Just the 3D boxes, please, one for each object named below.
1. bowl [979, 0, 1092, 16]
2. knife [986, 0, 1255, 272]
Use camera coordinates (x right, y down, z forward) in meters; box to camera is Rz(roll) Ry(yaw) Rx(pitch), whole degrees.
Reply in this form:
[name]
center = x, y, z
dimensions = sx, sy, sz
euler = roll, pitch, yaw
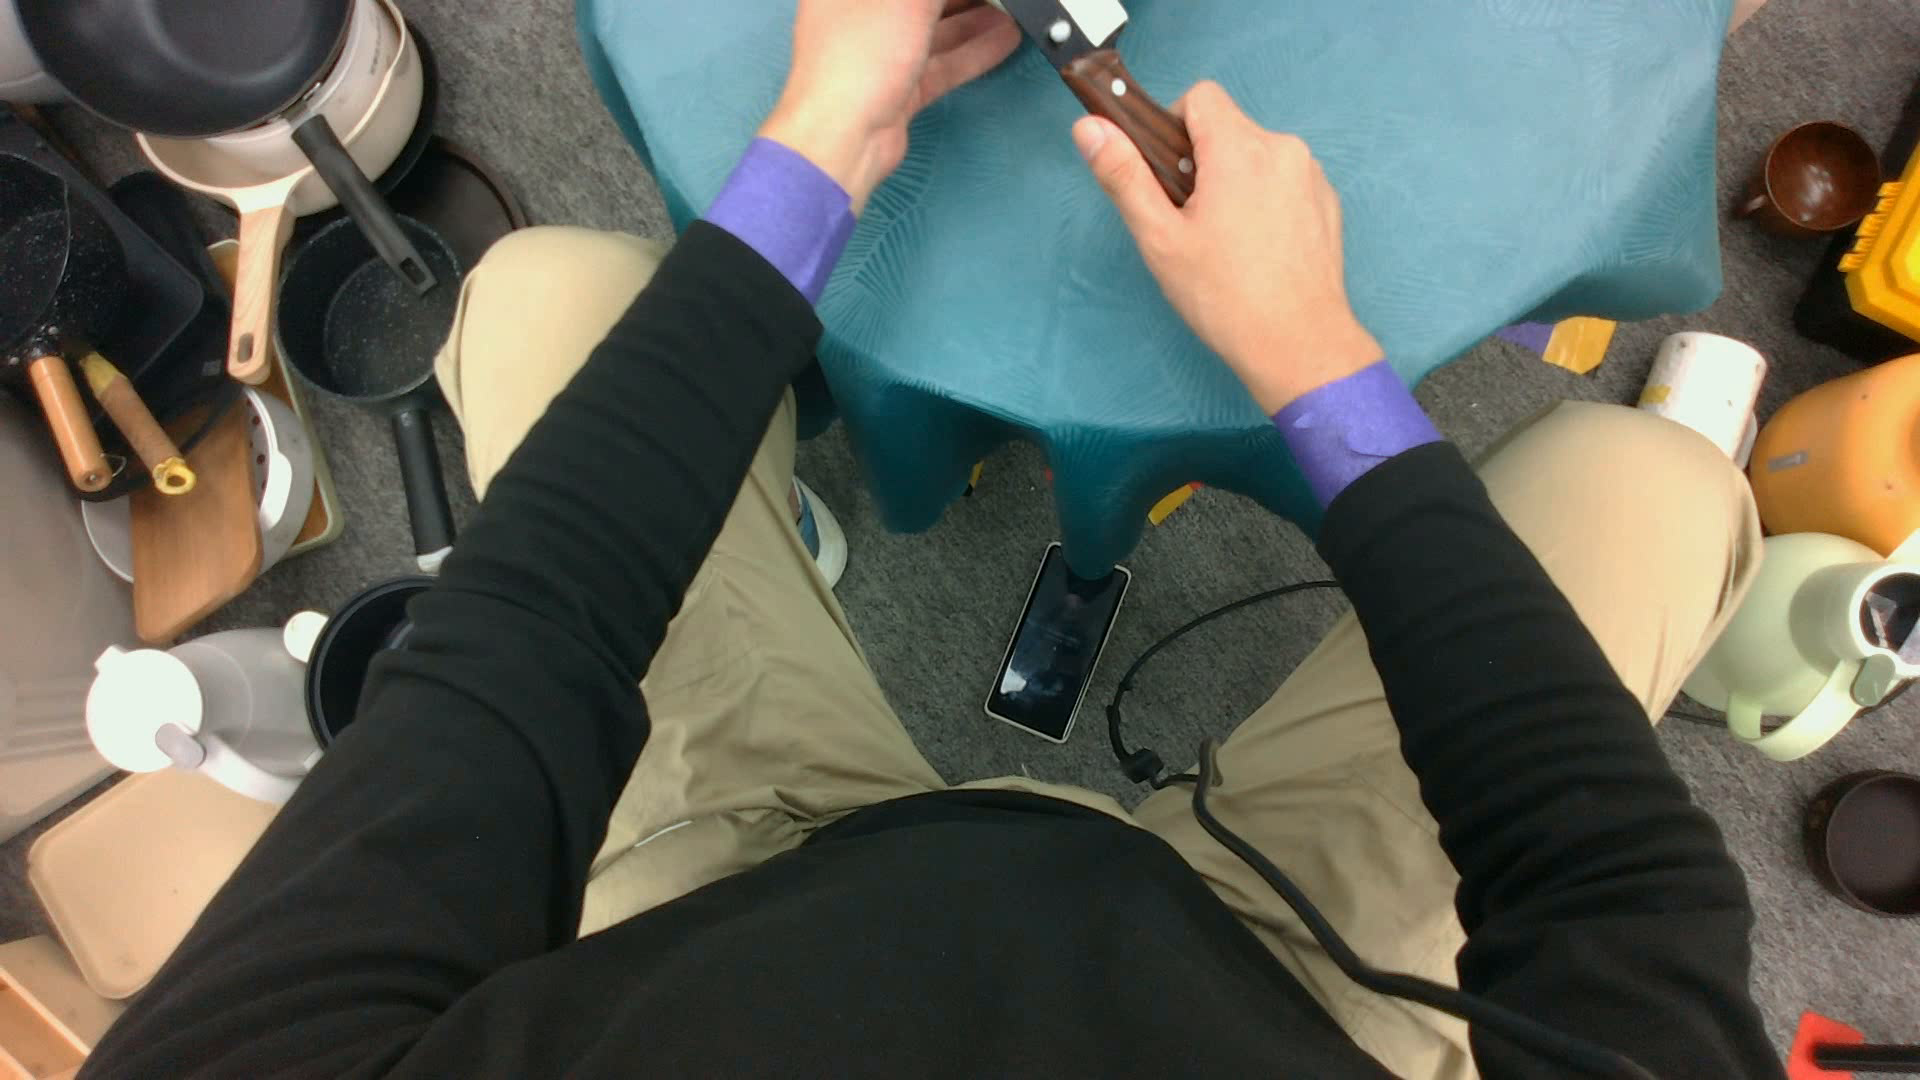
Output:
[bowl]
center = 0.041, -0.320, 0.681
dimensions = 0.151, 0.058, 0.151
euler = 0, 84, 4
[knife]
center = 0.038, -0.235, 0.608
dimensions = 0.050, 0.020, 0.289
euler = -45, 102, -19
